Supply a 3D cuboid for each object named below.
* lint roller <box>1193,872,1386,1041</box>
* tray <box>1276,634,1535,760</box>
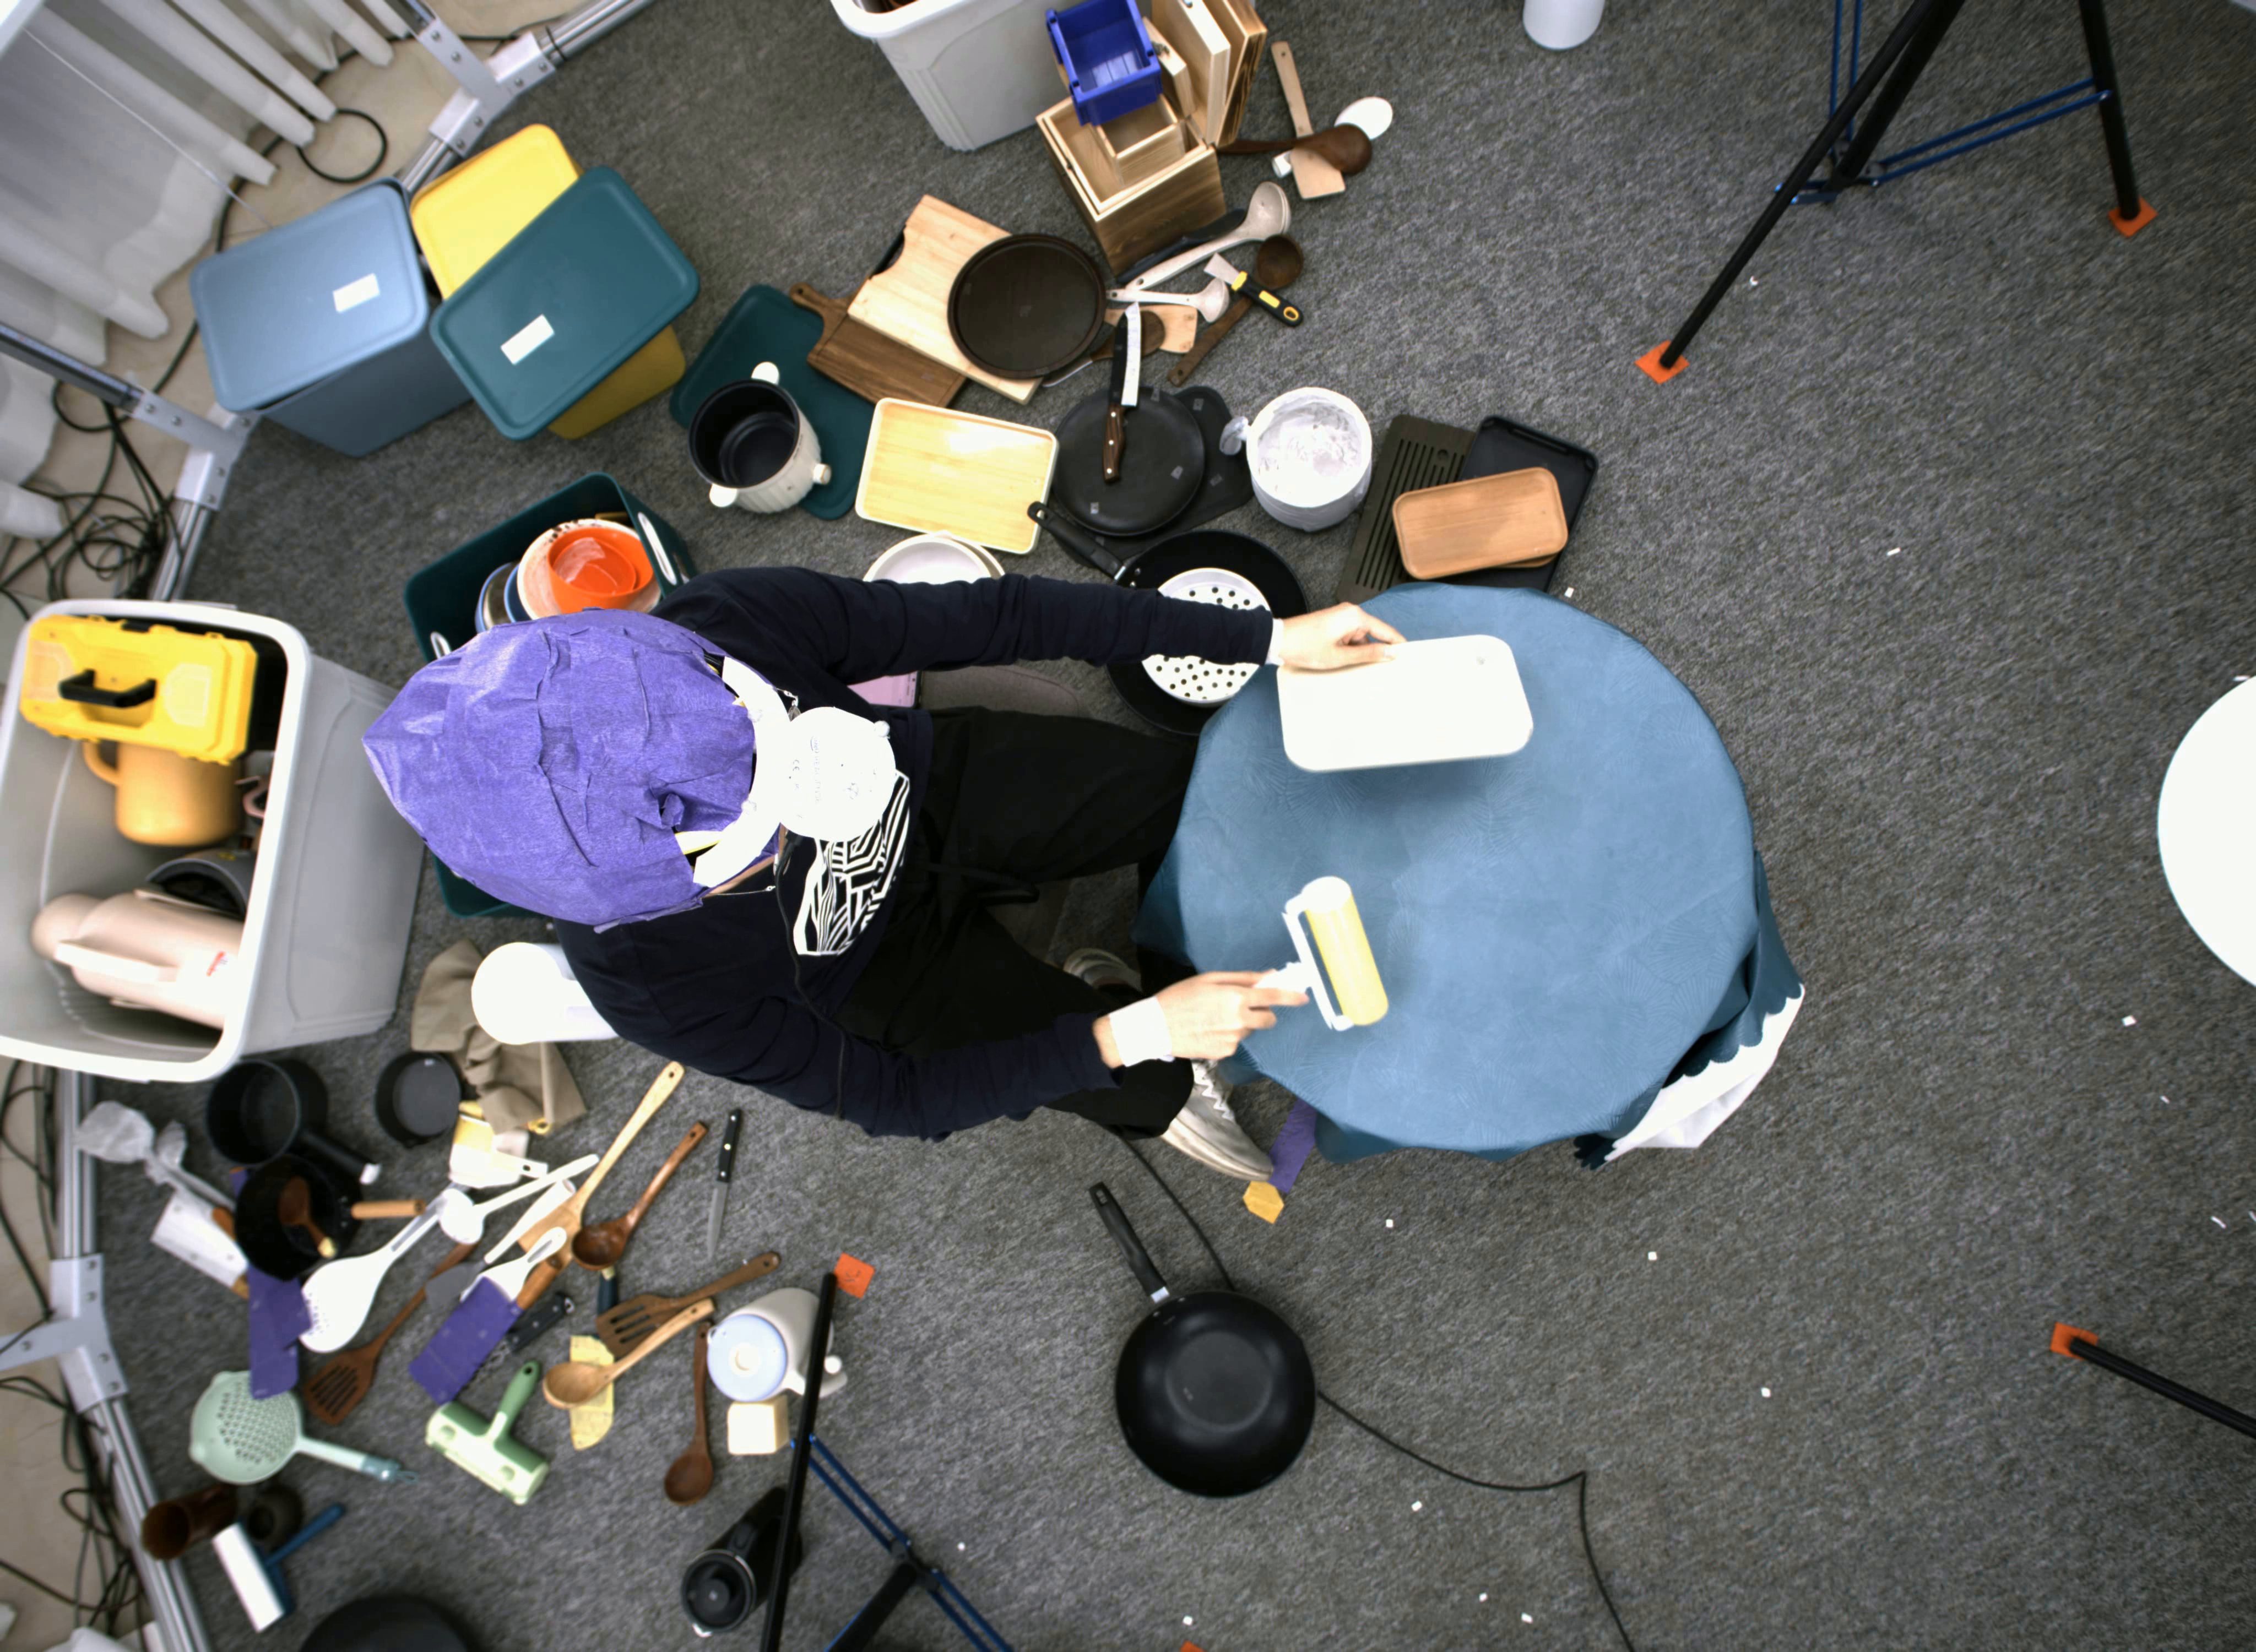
[{"bbox_3d":[0.152,0.158,1.360,0.191,0.177,0.051,-35,37,-8],"label":"lint roller"},{"bbox_3d":[0.270,-0.129,1.358,0.240,0.018,0.166,-6,43,6],"label":"tray"}]
